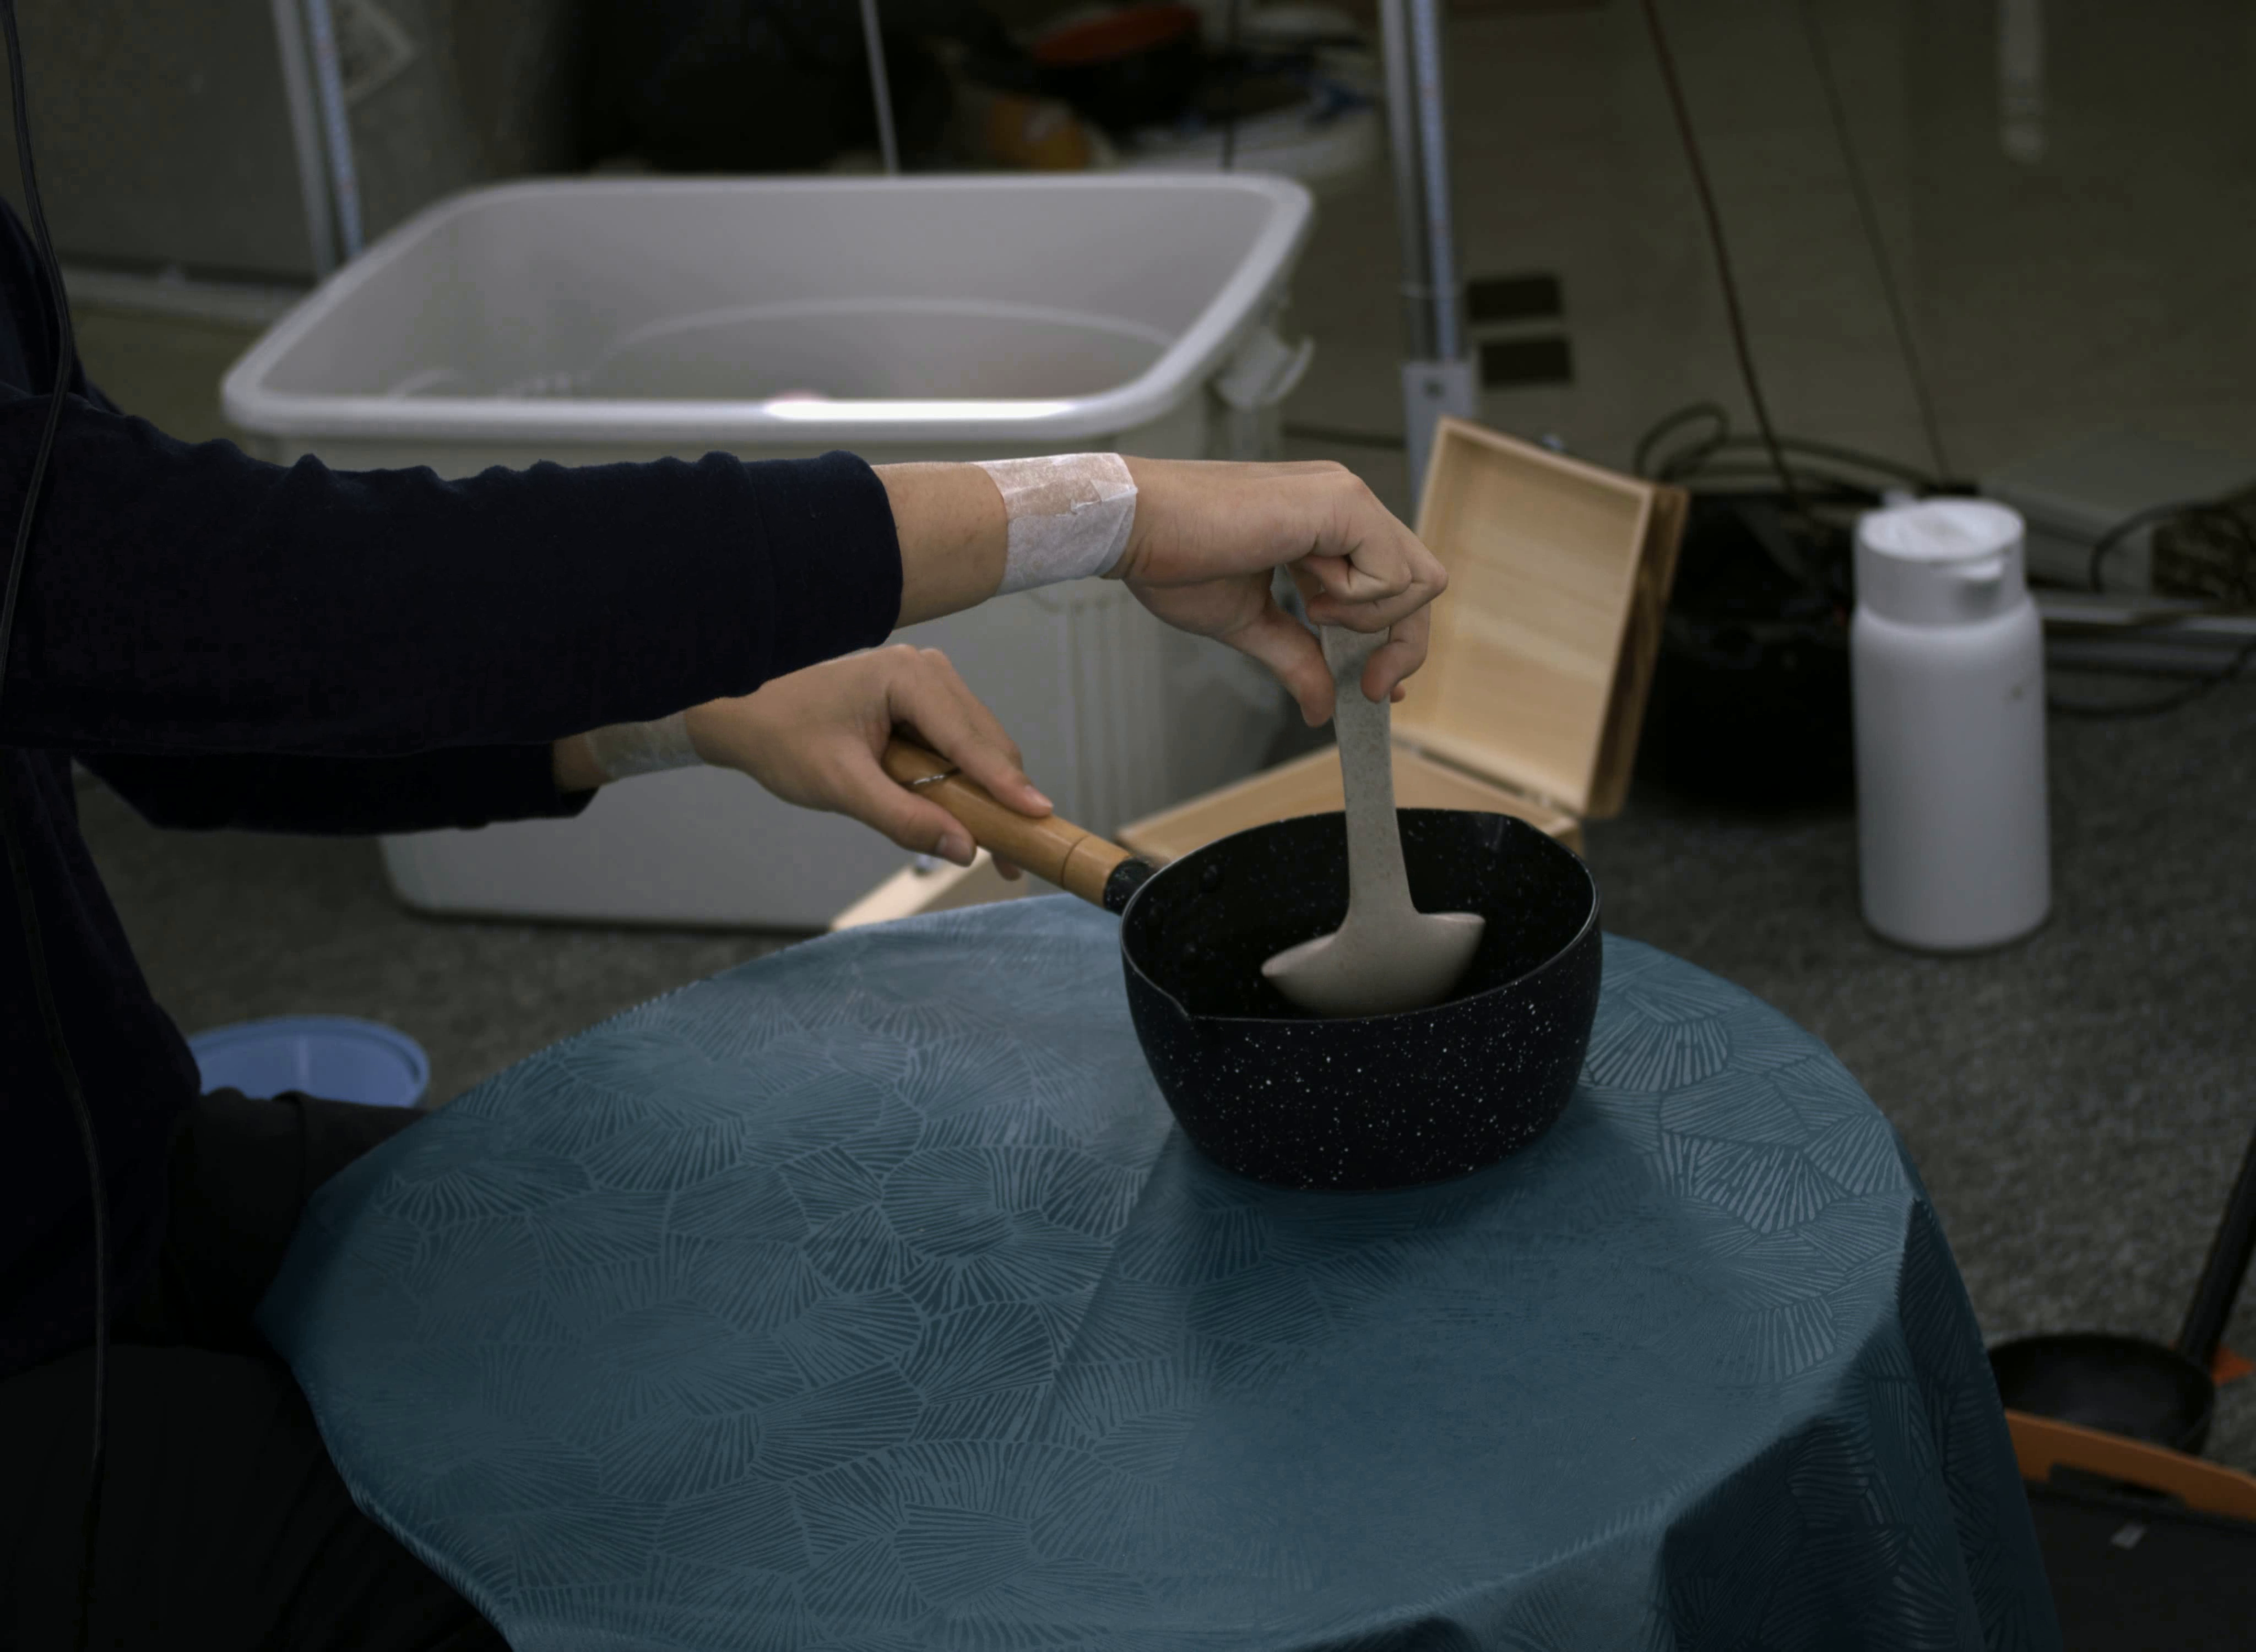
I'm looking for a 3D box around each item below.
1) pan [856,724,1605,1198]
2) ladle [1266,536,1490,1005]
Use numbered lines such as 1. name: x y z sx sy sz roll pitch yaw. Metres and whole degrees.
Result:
1. pan: 0.029 0.044 2.213 0.340 0.110 0.205 15 34 35
2. ladle: 0.085 -0.027 2.117 0.089 0.280 0.068 -11 46 -2
